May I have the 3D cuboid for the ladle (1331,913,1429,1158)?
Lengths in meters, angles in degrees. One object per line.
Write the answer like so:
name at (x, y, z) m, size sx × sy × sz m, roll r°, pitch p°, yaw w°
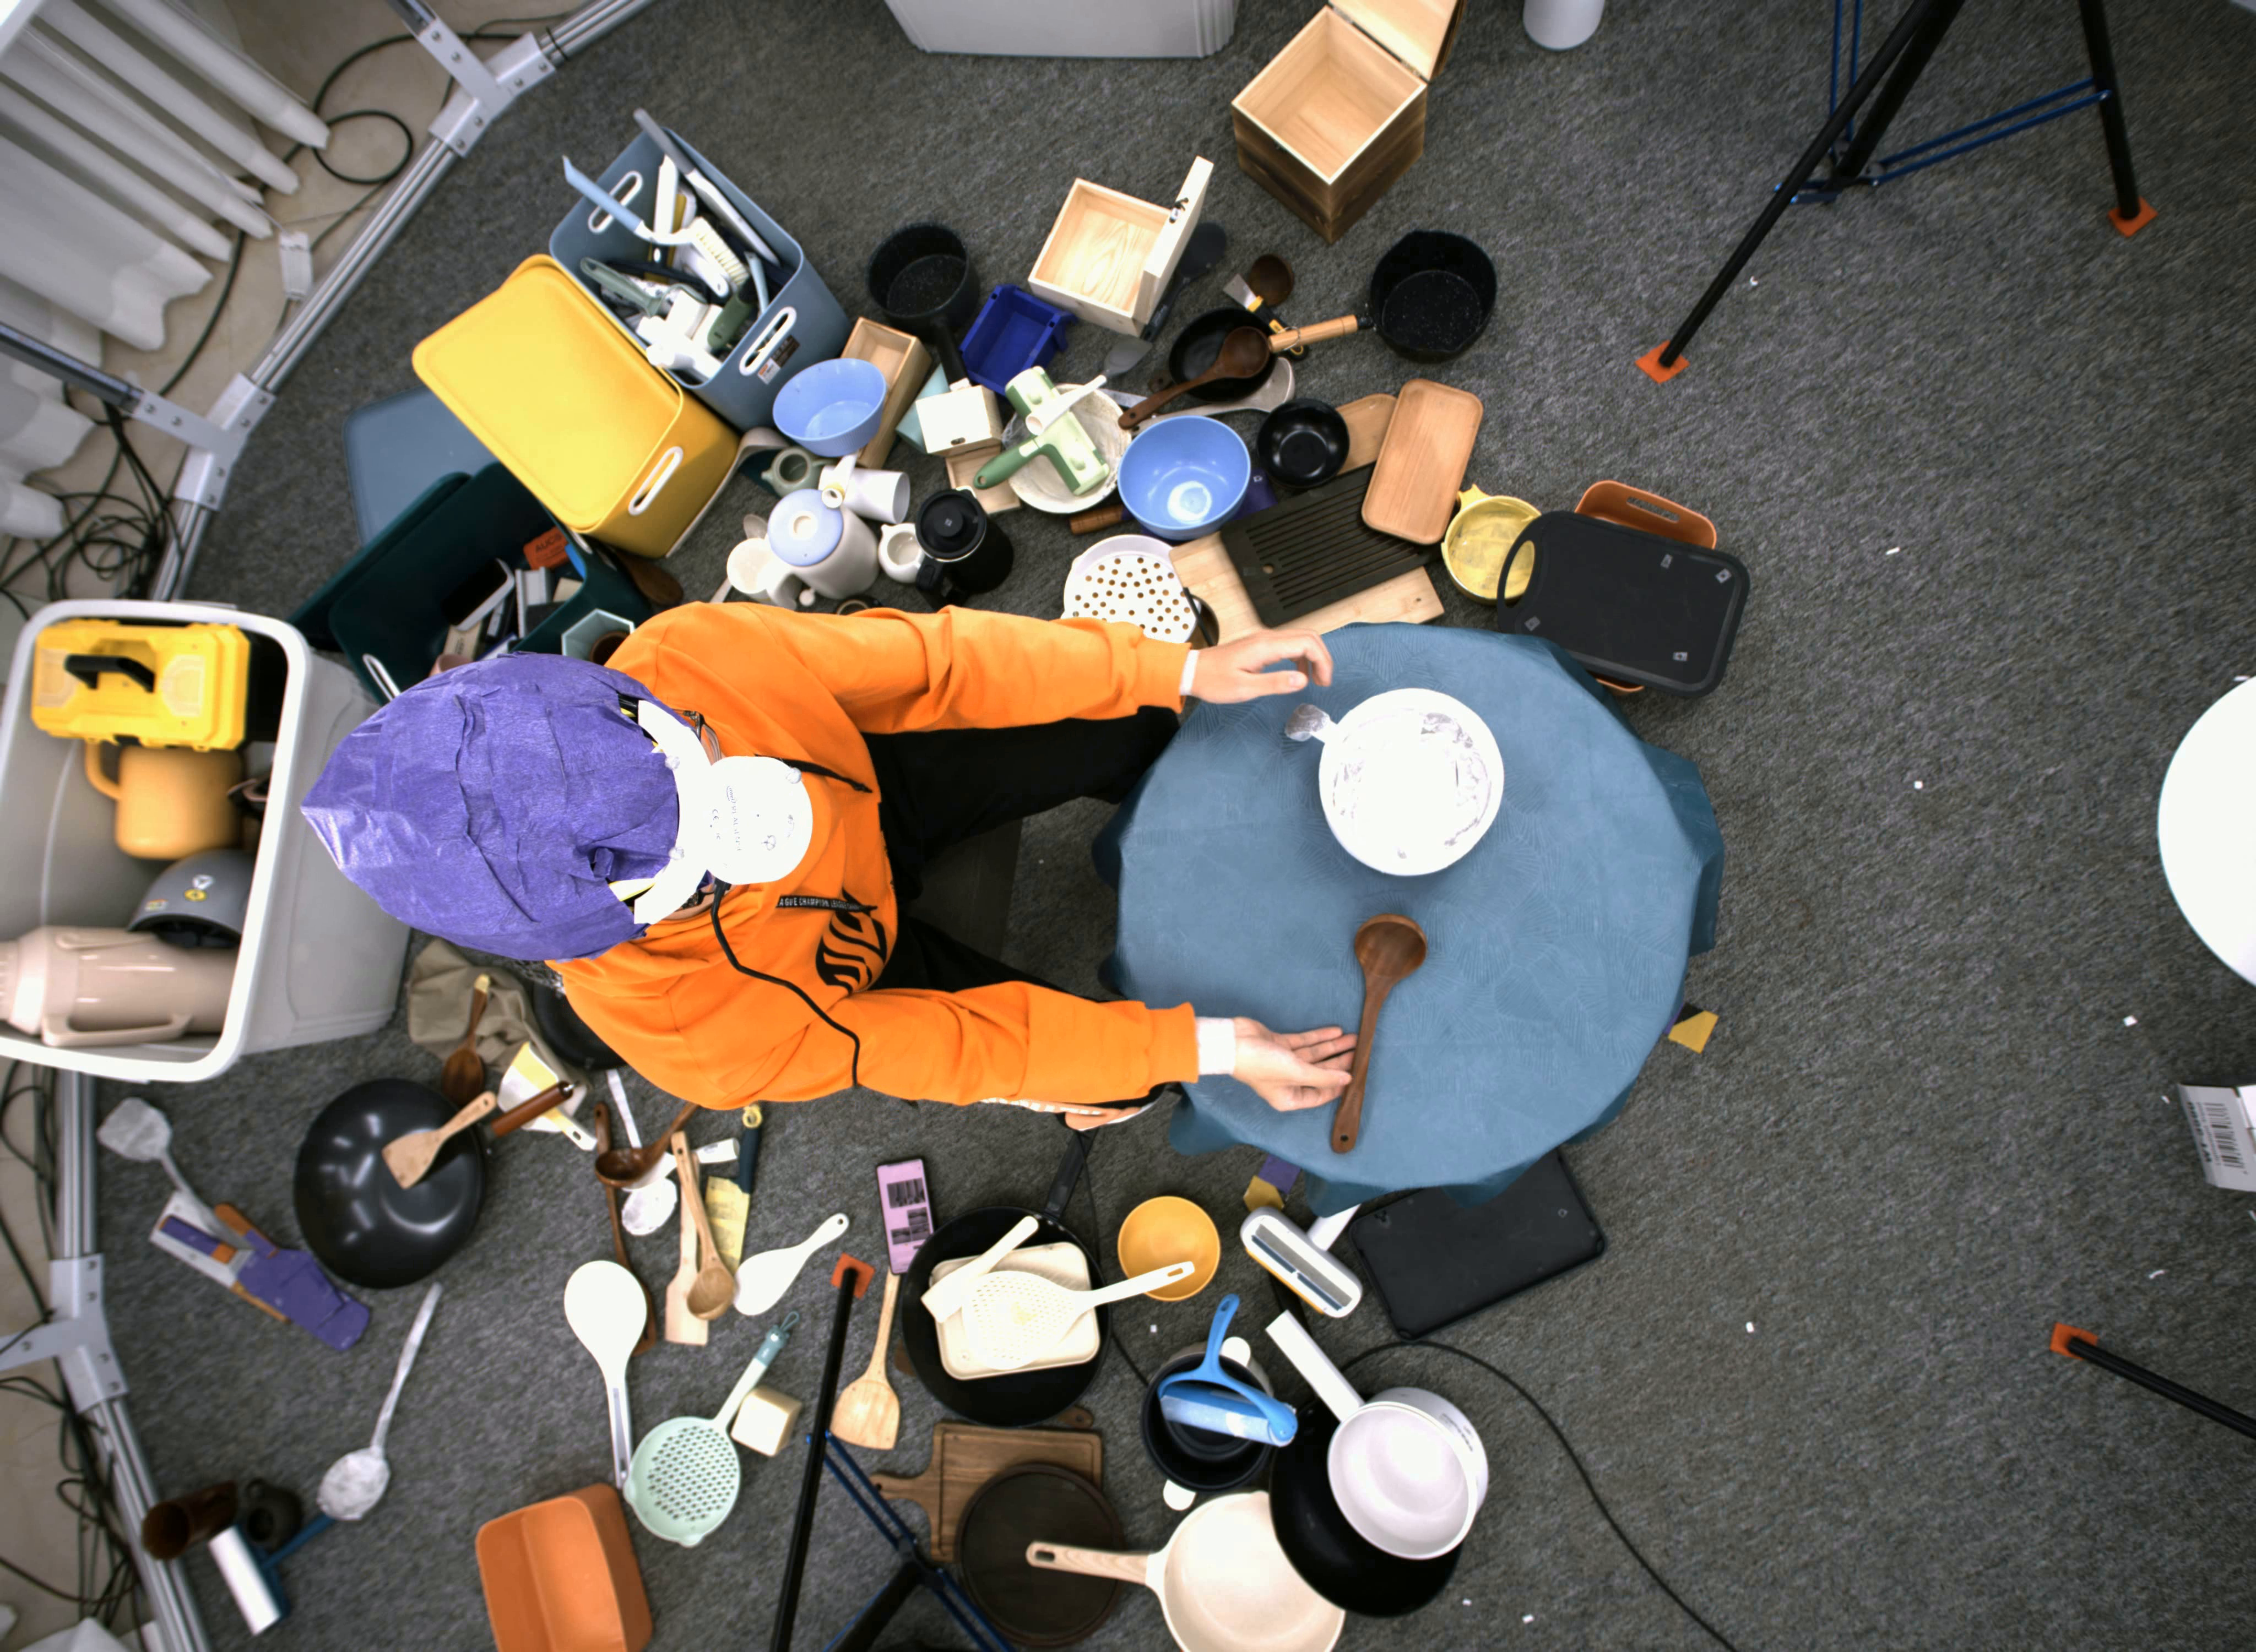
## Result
ladle at (0.248, 0.215, 1.424) m, size 0.076 × 0.065 × 0.259 m, roll 14°, pitch 89°, yaw 13°

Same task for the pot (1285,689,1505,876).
pot at (0.261, -0.056, 1.399) m, size 0.233 × 0.137 × 0.179 m, roll 32°, pitch 91°, yaw 10°
